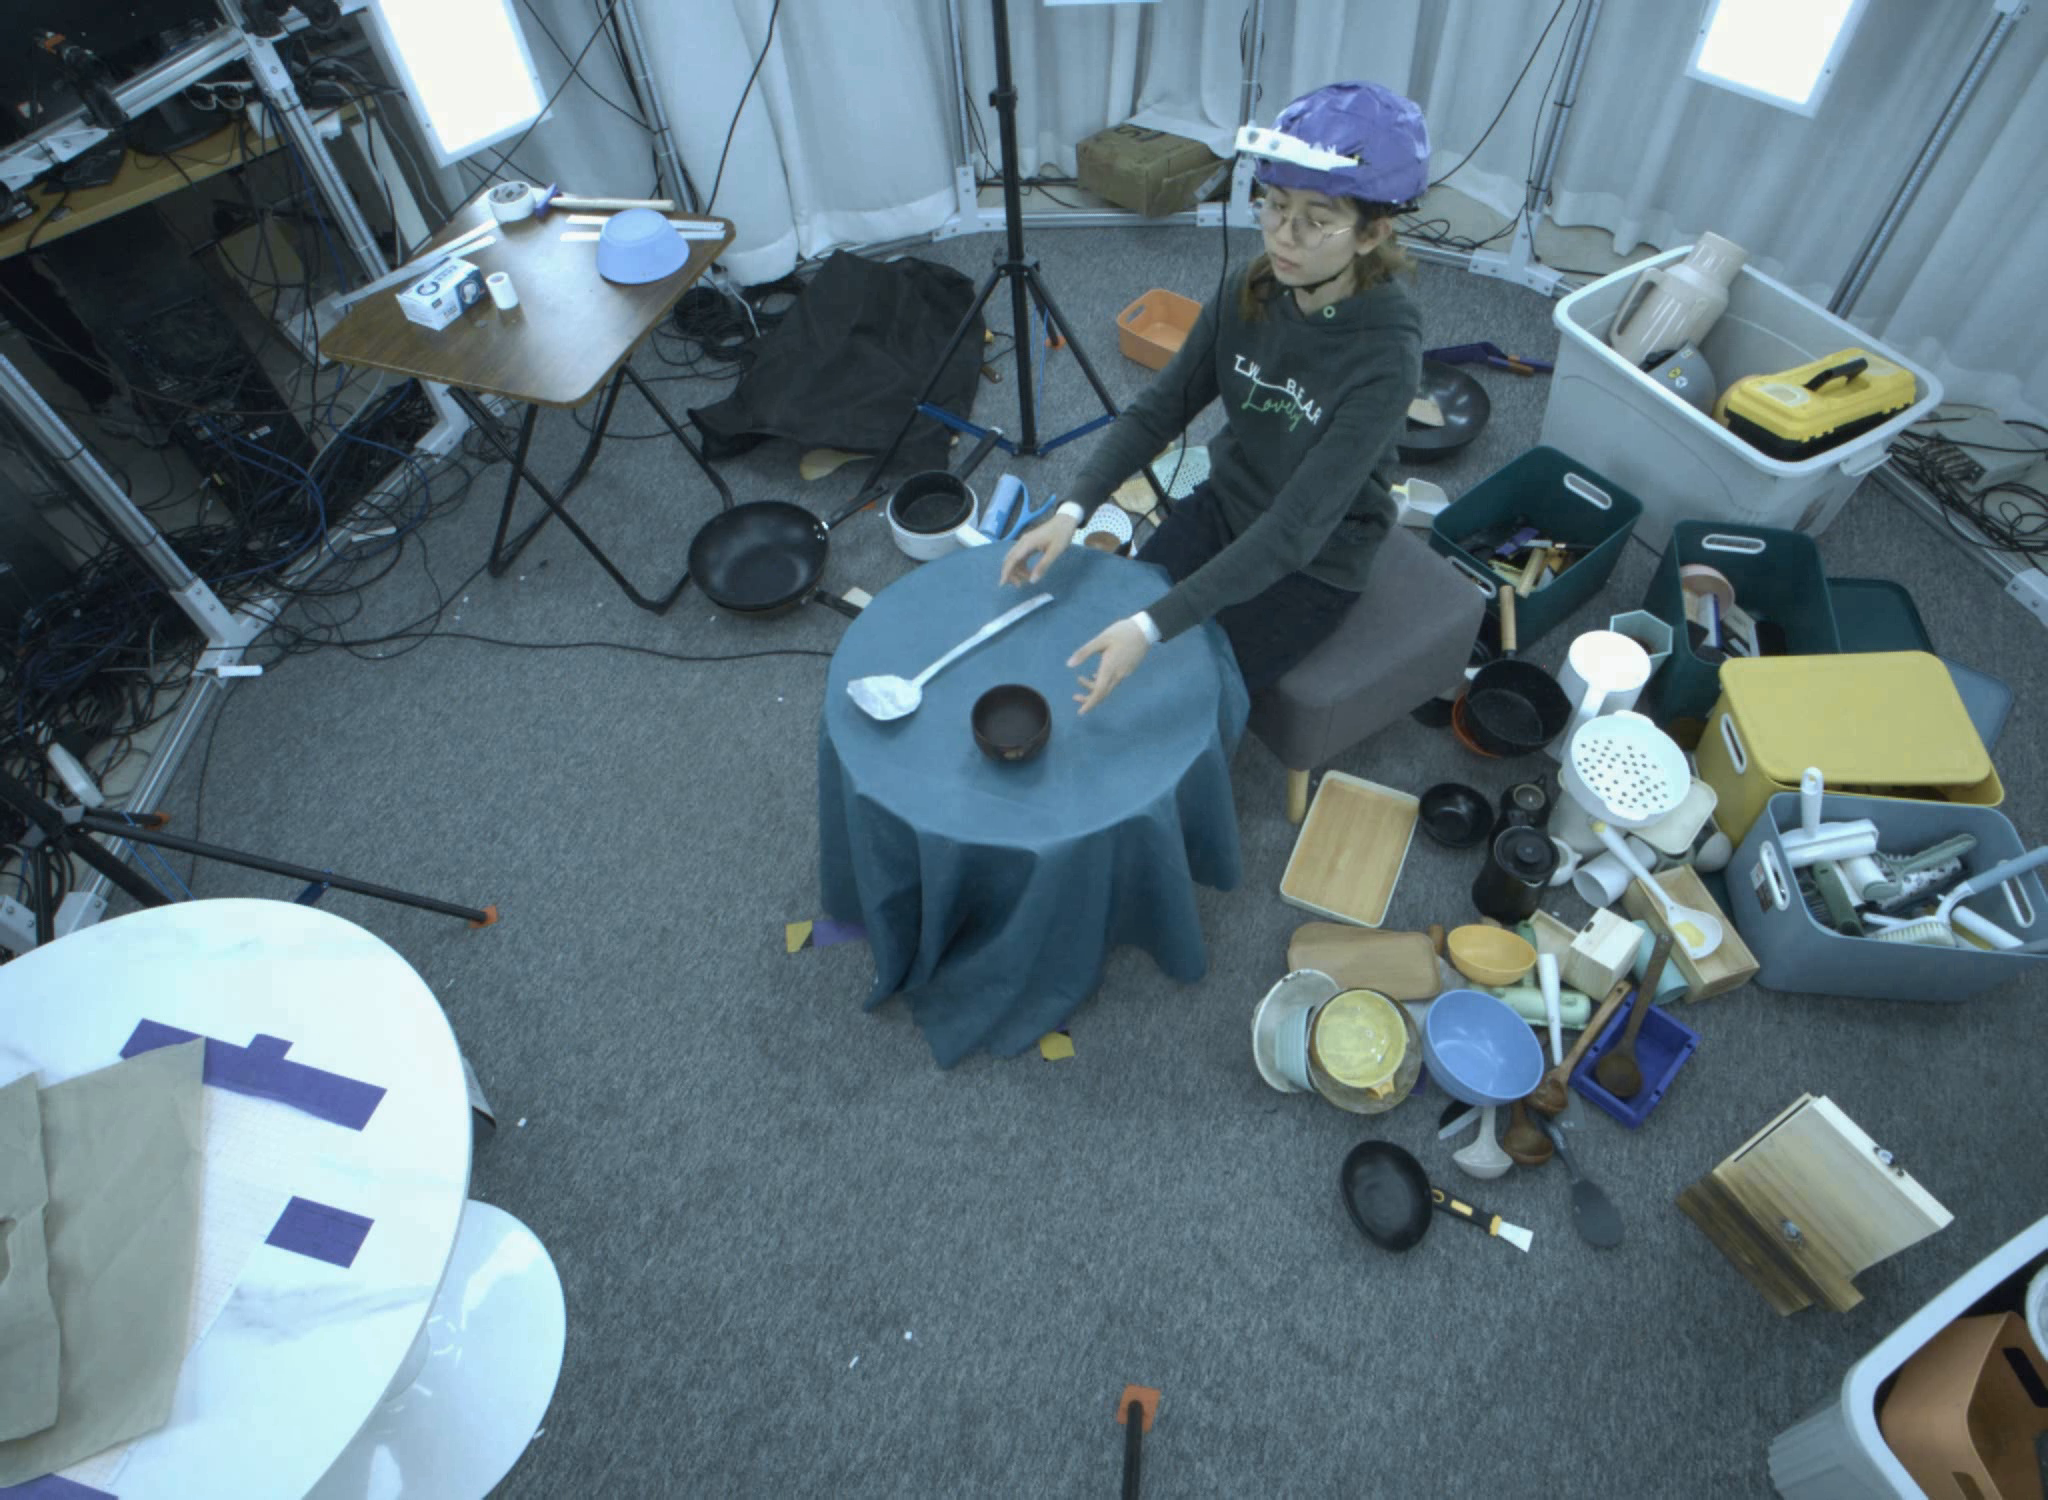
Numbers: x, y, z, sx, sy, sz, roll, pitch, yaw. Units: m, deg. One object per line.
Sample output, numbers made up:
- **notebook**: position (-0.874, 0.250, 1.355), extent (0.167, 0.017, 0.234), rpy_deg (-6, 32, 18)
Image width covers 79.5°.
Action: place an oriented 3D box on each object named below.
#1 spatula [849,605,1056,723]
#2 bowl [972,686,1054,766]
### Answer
- **spatula**: position (-0.100, -0.146, 1.880), extent (0.368, 0.045, 0.097), rpy_deg (-35, 59, -20)
- **bowl**: position (-0.015, -0.027, 1.773), extent (0.118, 0.070, 0.117), rpy_deg (0, 56, 1)
